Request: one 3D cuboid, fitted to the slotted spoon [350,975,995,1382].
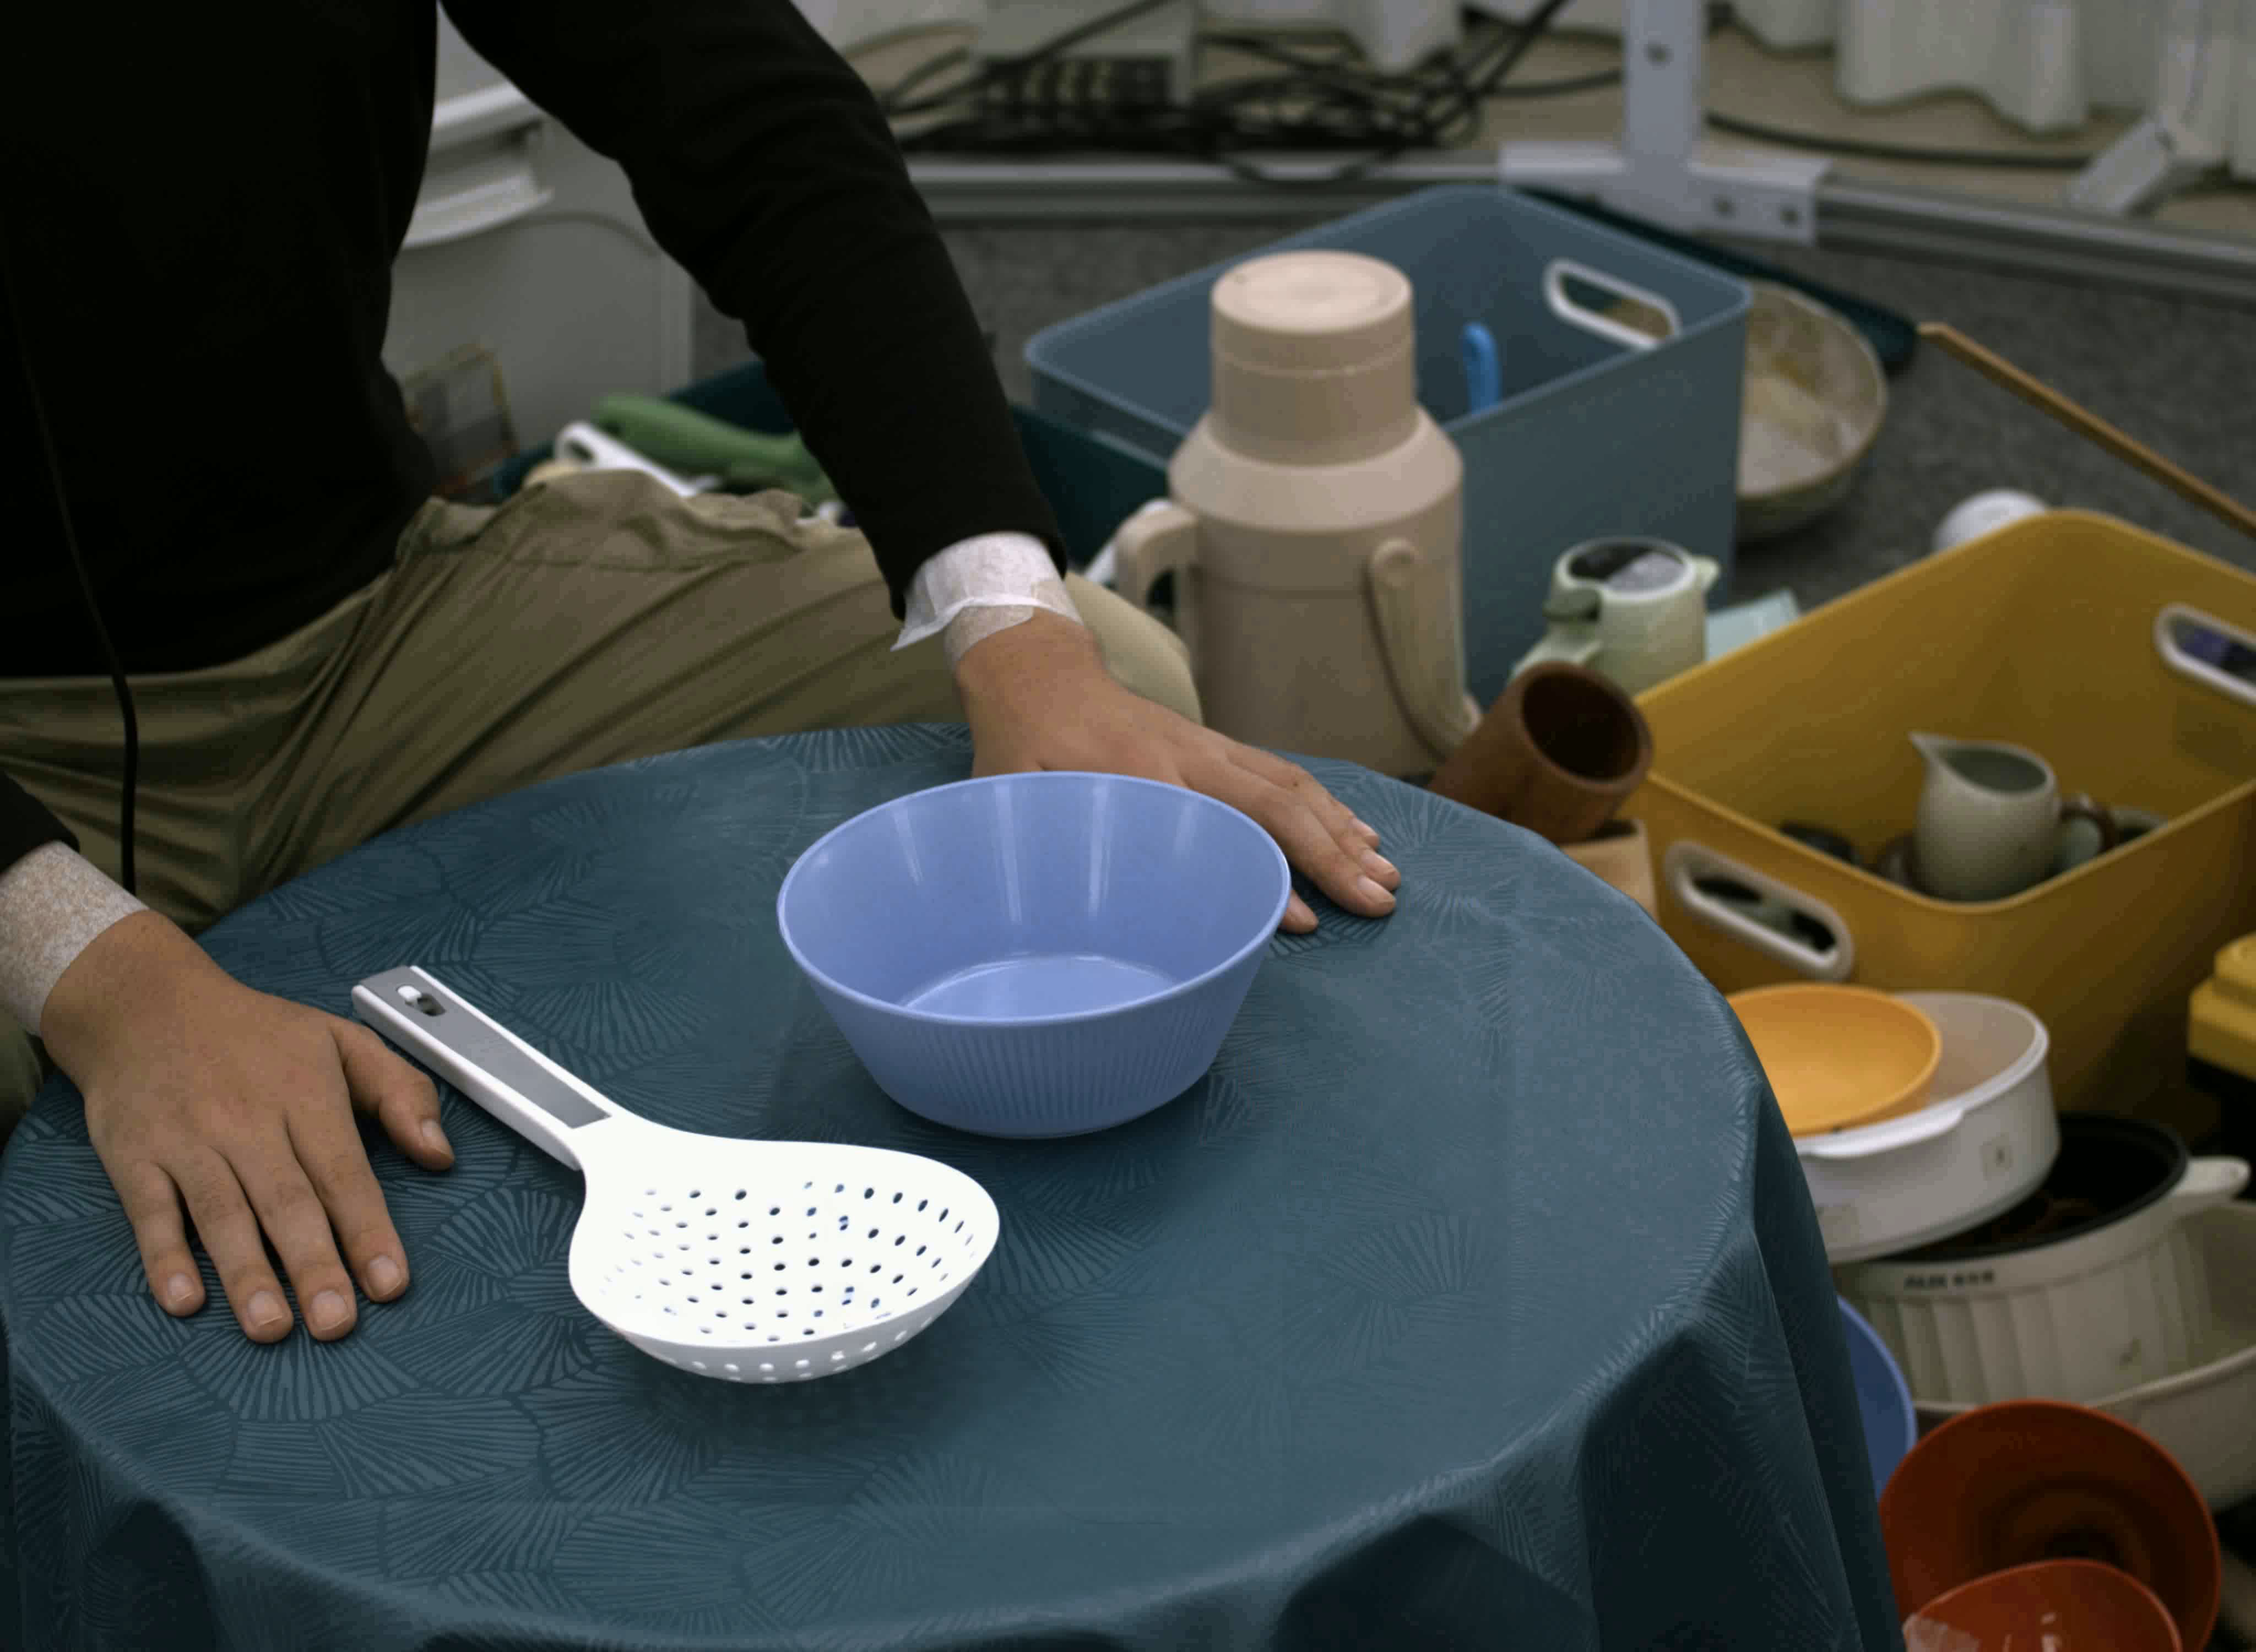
[{"bbox_3d":[-0.169,0.109,1.854,0.137,0.045,0.350,-20,31,-29],"label":"slotted spoon"}]

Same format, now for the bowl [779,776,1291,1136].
[{"bbox_3d":[-0.030,0.050,1.927,0.175,0.069,0.178,-2,26,2],"label":"bowl"}]
